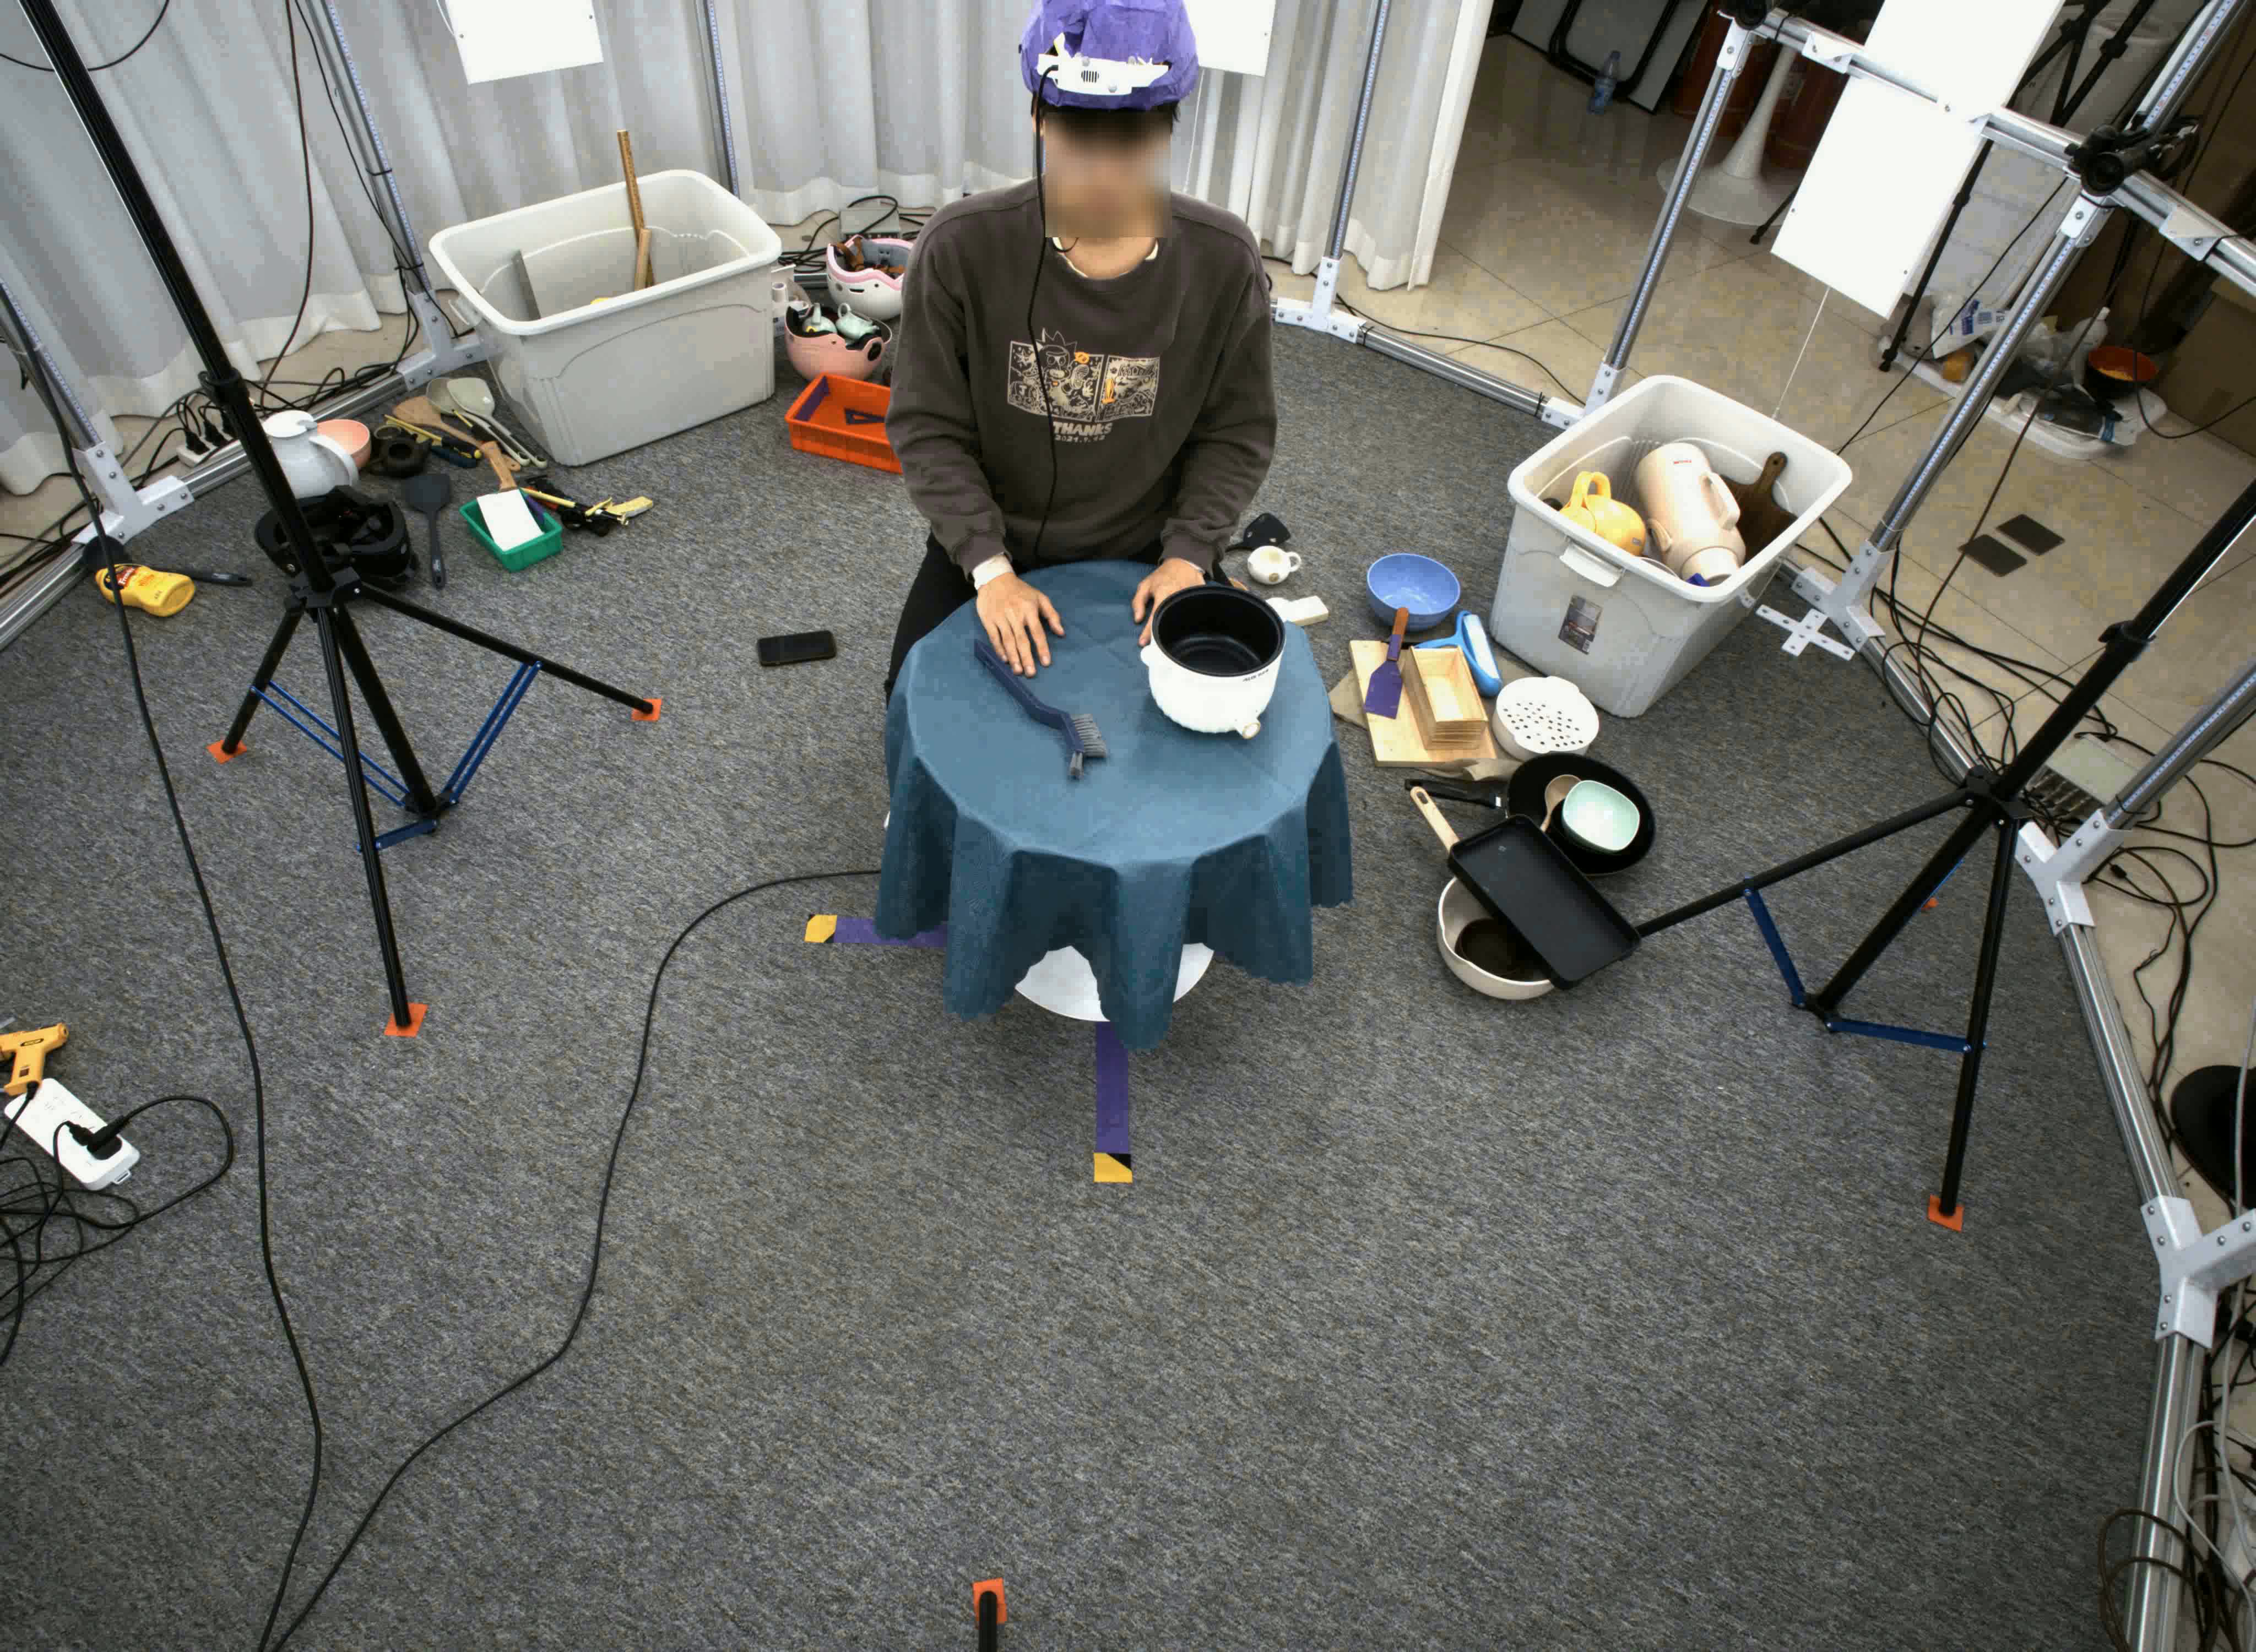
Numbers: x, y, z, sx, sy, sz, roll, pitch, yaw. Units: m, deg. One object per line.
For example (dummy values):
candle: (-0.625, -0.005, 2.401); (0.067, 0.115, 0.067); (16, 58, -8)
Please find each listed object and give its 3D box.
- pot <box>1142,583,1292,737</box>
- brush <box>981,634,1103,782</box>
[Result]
pot: (0.123, -0.222, 1.776); (0.241, 0.139, 0.194); (-25, 51, -21)
brush: (-0.138, -0.170, 1.784); (0.096, 0.033, 0.277); (-35, 60, -28)
